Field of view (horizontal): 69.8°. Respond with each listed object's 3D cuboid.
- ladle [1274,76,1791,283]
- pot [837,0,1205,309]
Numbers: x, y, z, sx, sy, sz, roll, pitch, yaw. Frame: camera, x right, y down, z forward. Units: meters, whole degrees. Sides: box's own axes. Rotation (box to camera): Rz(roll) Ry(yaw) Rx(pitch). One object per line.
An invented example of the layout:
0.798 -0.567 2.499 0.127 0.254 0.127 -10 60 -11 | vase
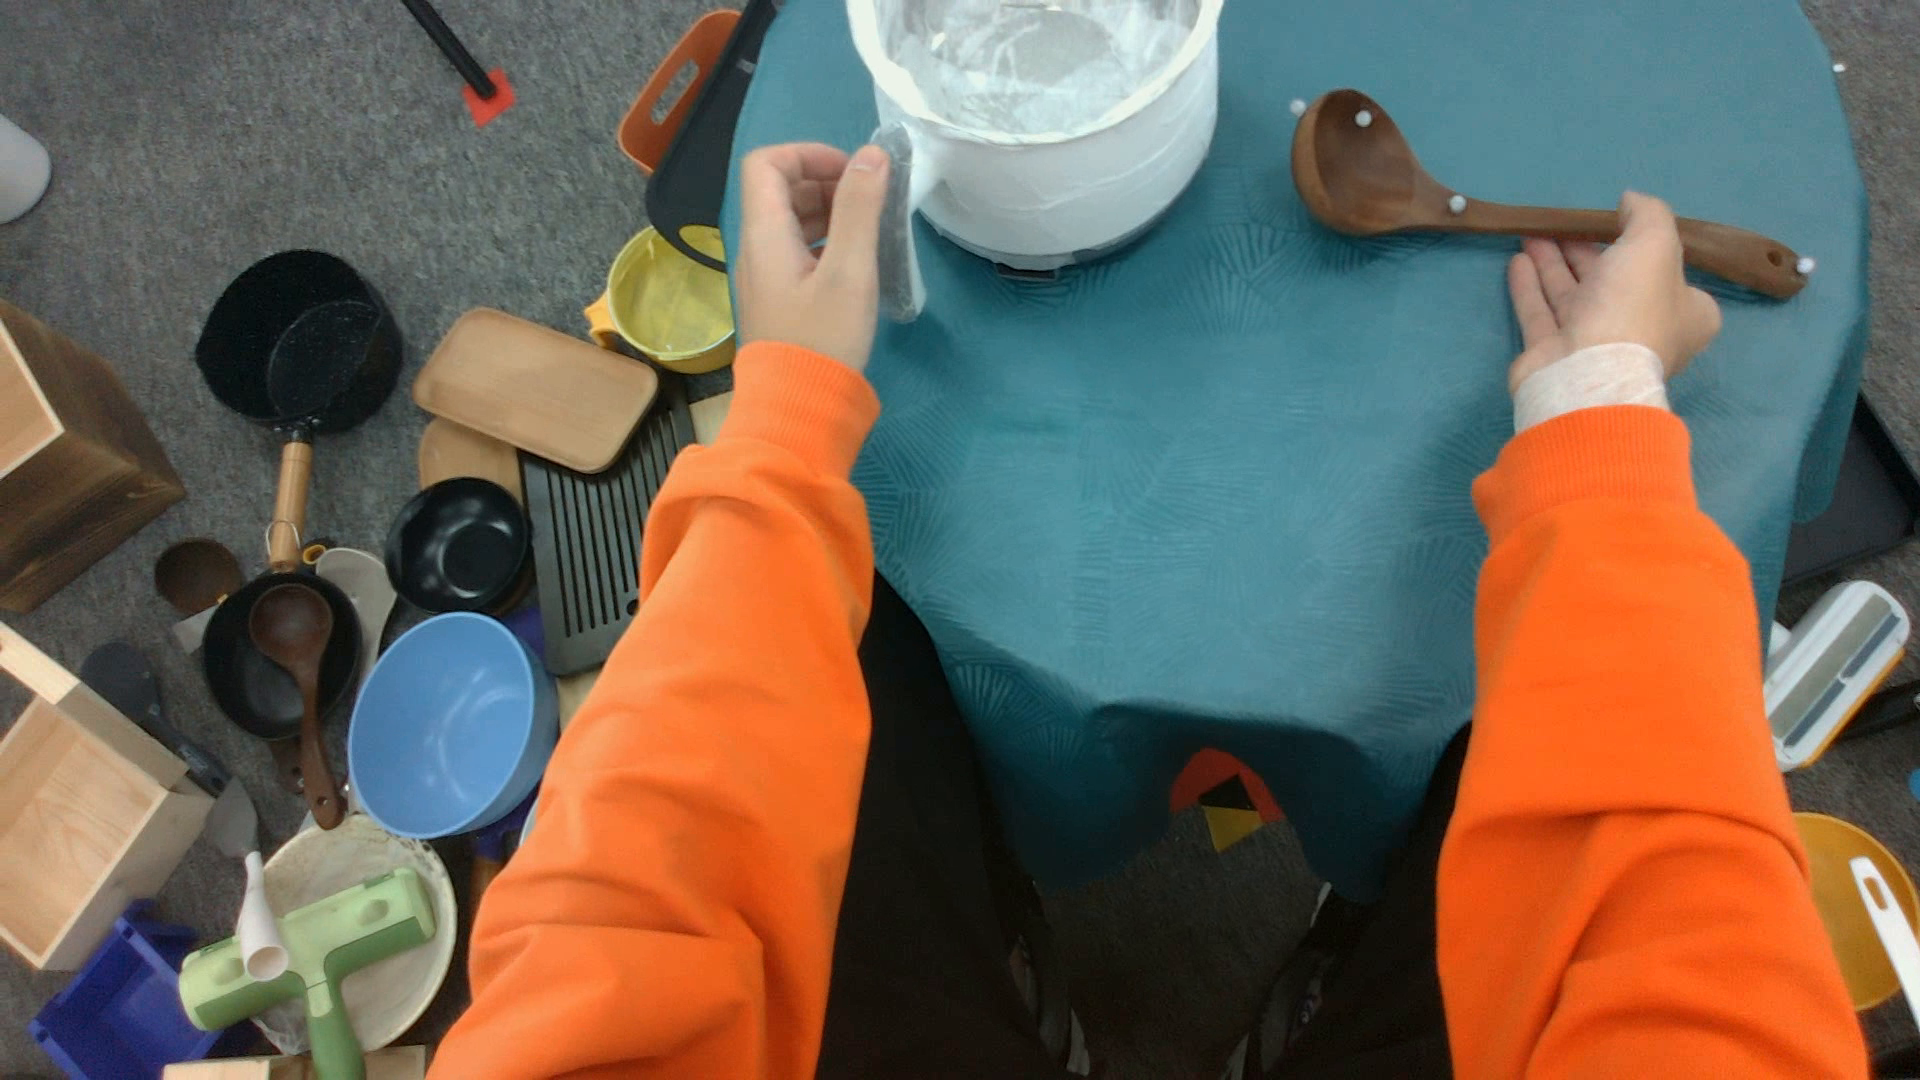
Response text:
0.286 -0.174 0.687 0.260 0.065 0.076 14 77 12 | ladle
0.020 -0.226 0.698 0.179 0.136 0.234 35 79 17 | pot
